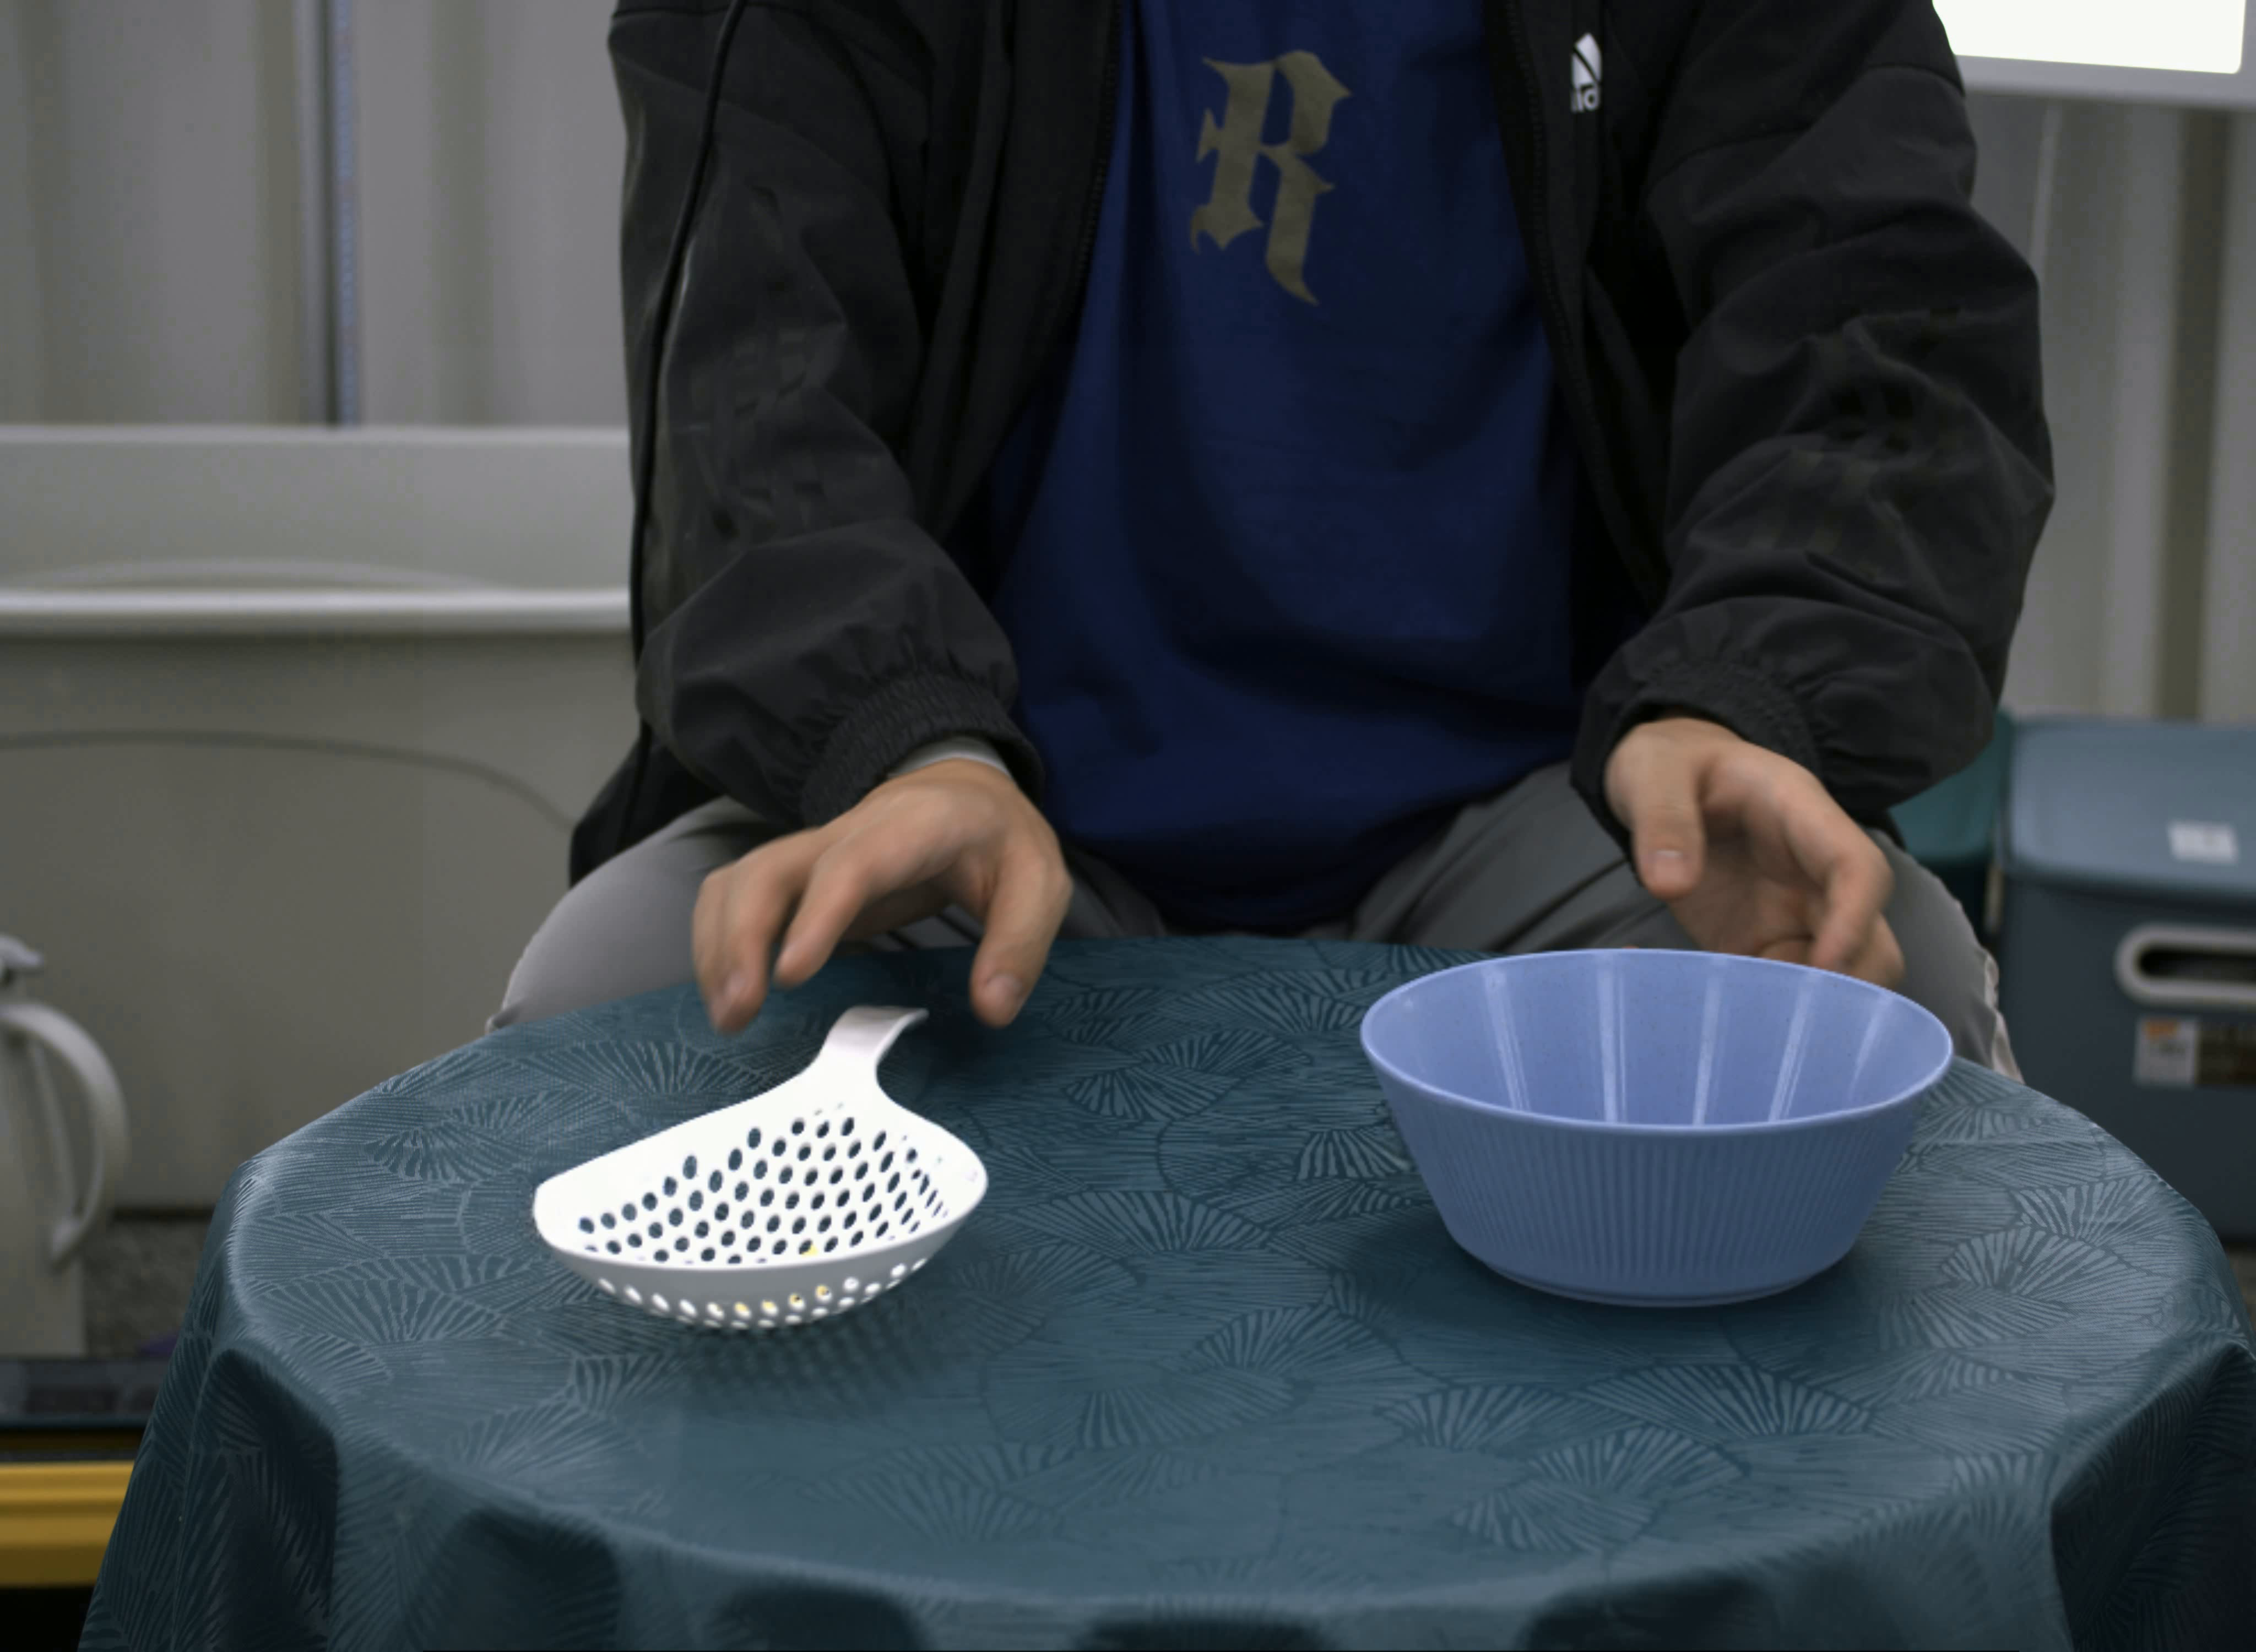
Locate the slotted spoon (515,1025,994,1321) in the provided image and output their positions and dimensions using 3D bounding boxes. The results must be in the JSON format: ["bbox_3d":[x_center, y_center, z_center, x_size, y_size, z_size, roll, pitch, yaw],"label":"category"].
[{"bbox_3d":[-0.094,0.092,1.613,0.136,0.051,0.346,-5,14,7],"label":"slotted spoon"}]

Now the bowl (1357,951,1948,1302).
[{"bbox_3d":[0.155,0.092,1.571,0.175,0.071,0.175,1,15,0],"label":"bowl"}]
